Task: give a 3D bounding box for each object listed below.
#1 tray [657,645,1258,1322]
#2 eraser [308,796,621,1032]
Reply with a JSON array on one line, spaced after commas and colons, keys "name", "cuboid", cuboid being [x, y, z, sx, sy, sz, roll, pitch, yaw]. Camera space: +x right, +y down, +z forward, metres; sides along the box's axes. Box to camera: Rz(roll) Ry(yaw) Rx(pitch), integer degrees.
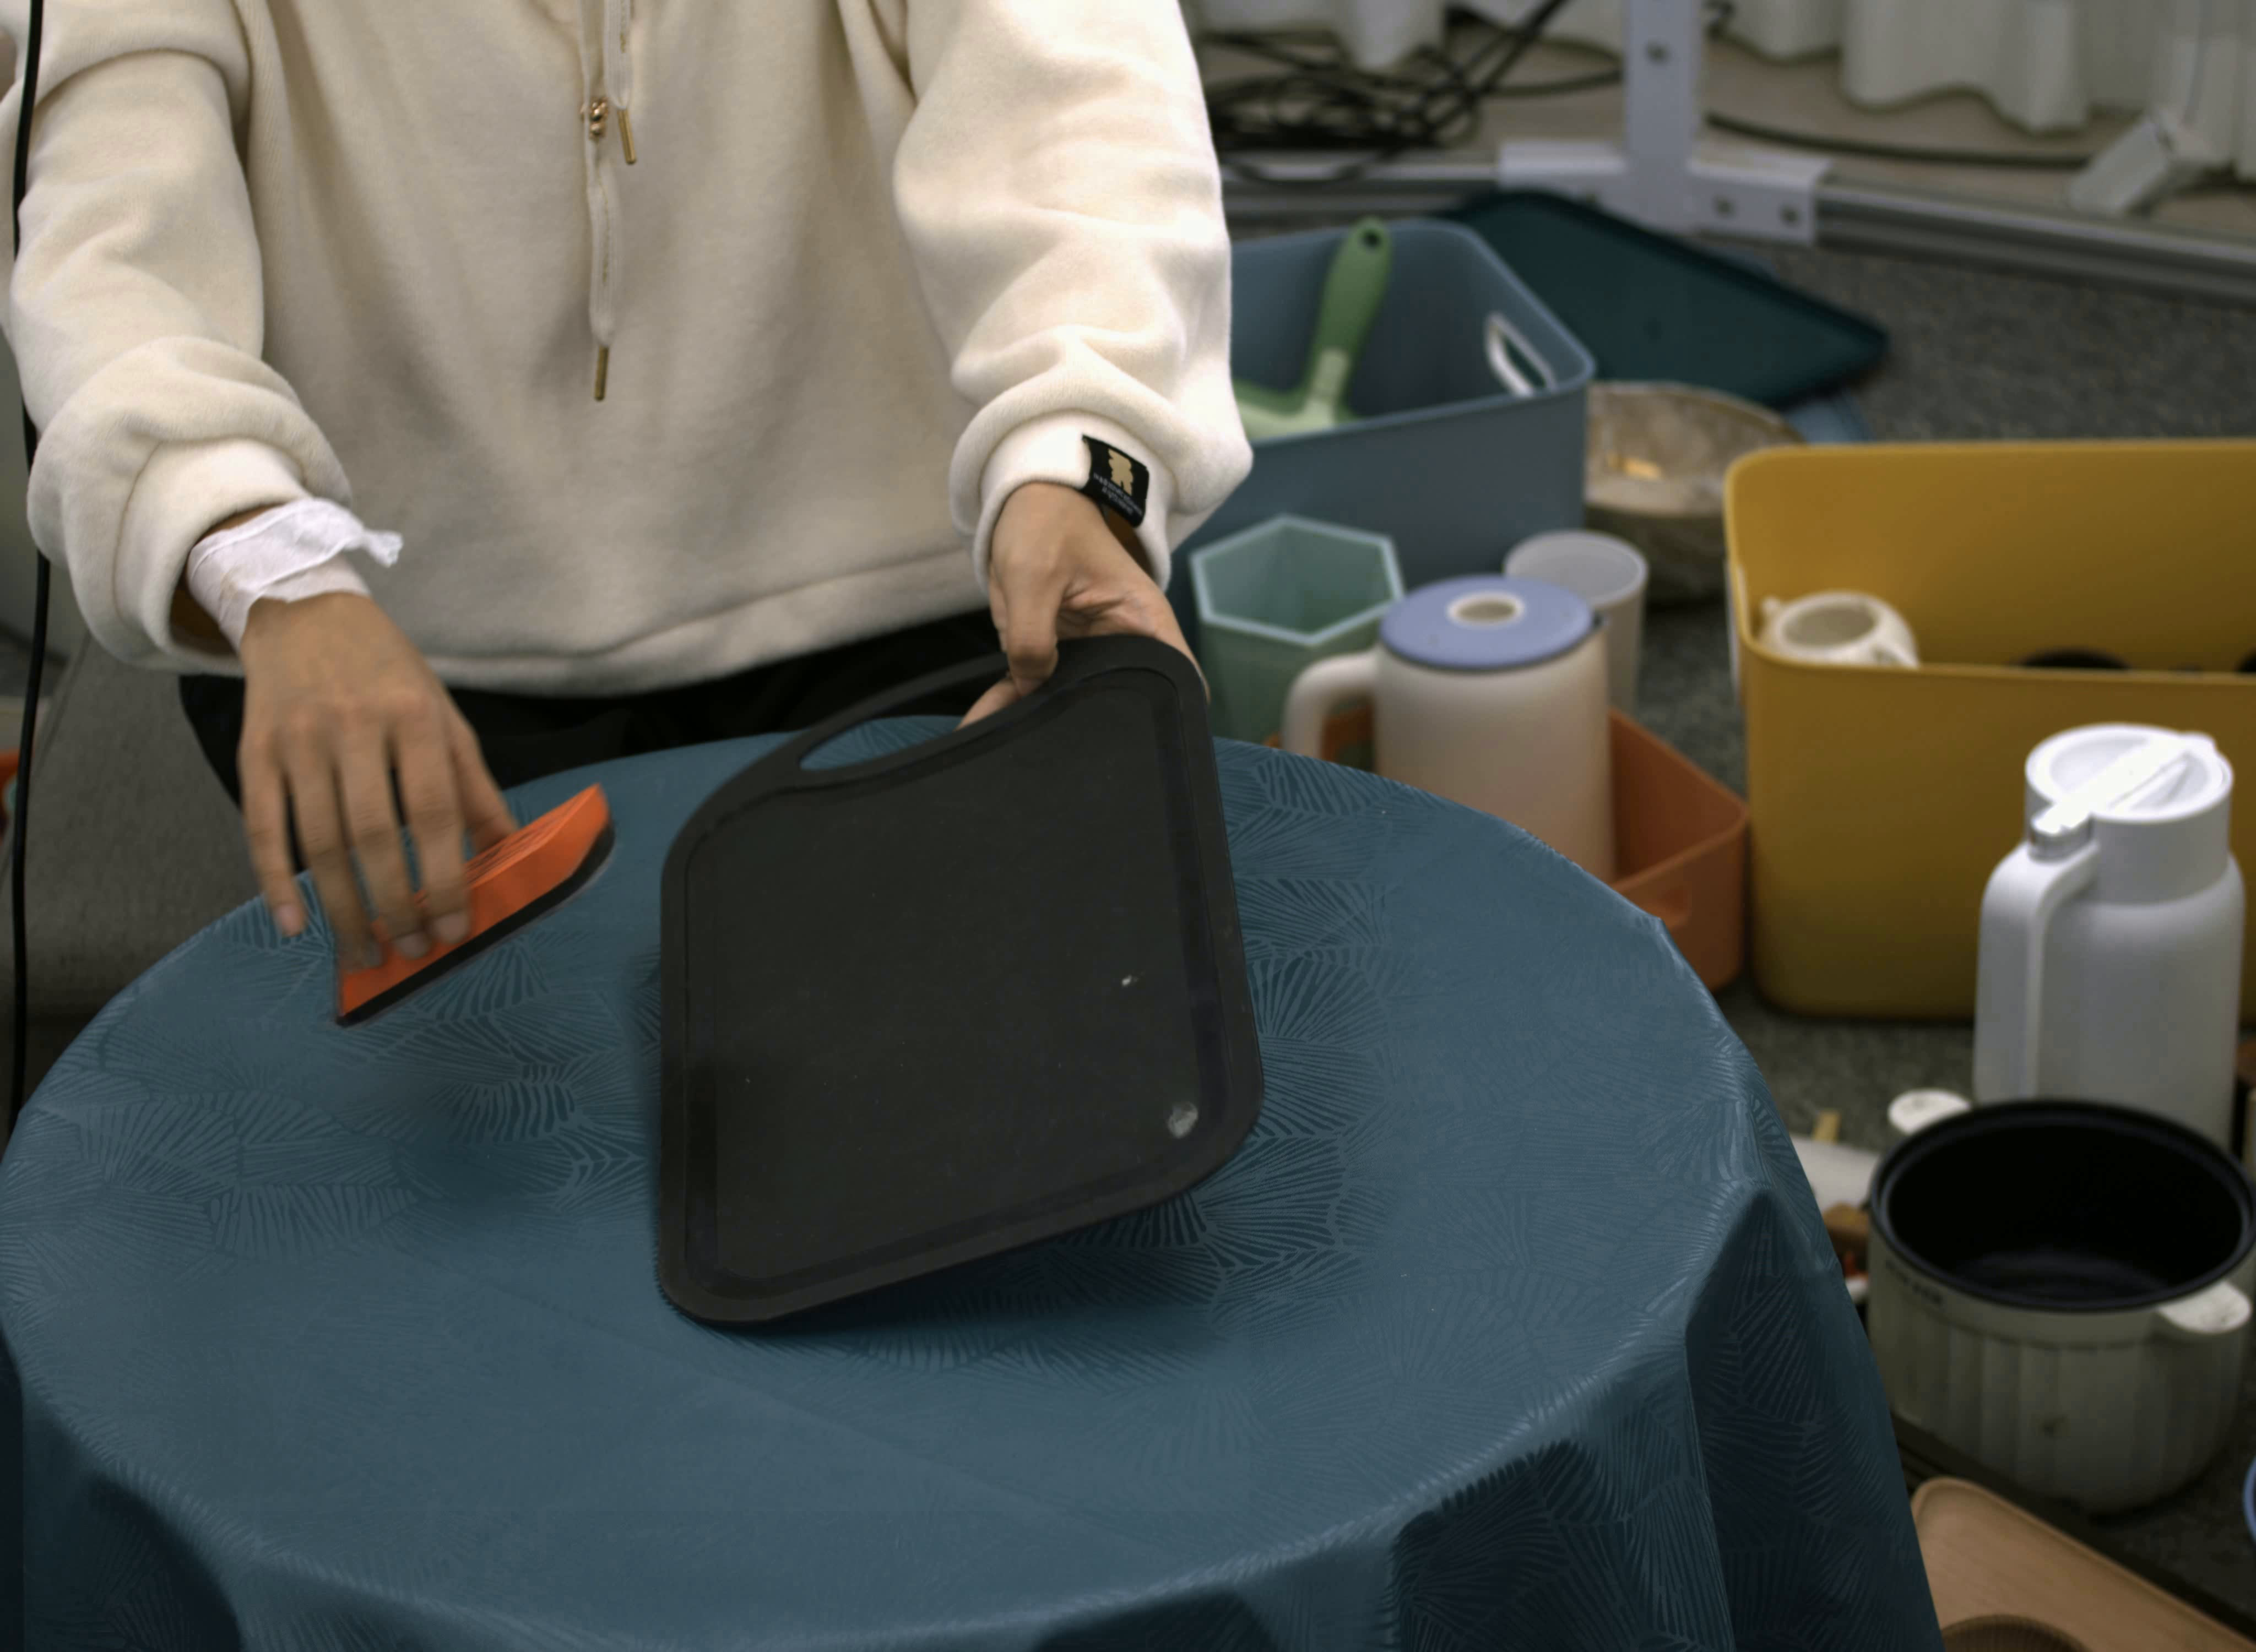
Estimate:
[{"name": "tray", "cuboid": [-0.063, 0.043, 1.911, 0.209, 0.009, 0.331, -19, 34, 9]}, {"name": "eraser", "cuboid": [-0.224, 0.031, 1.900, 0.106, 0.023, 0.060, -29, 13, 24]}]
